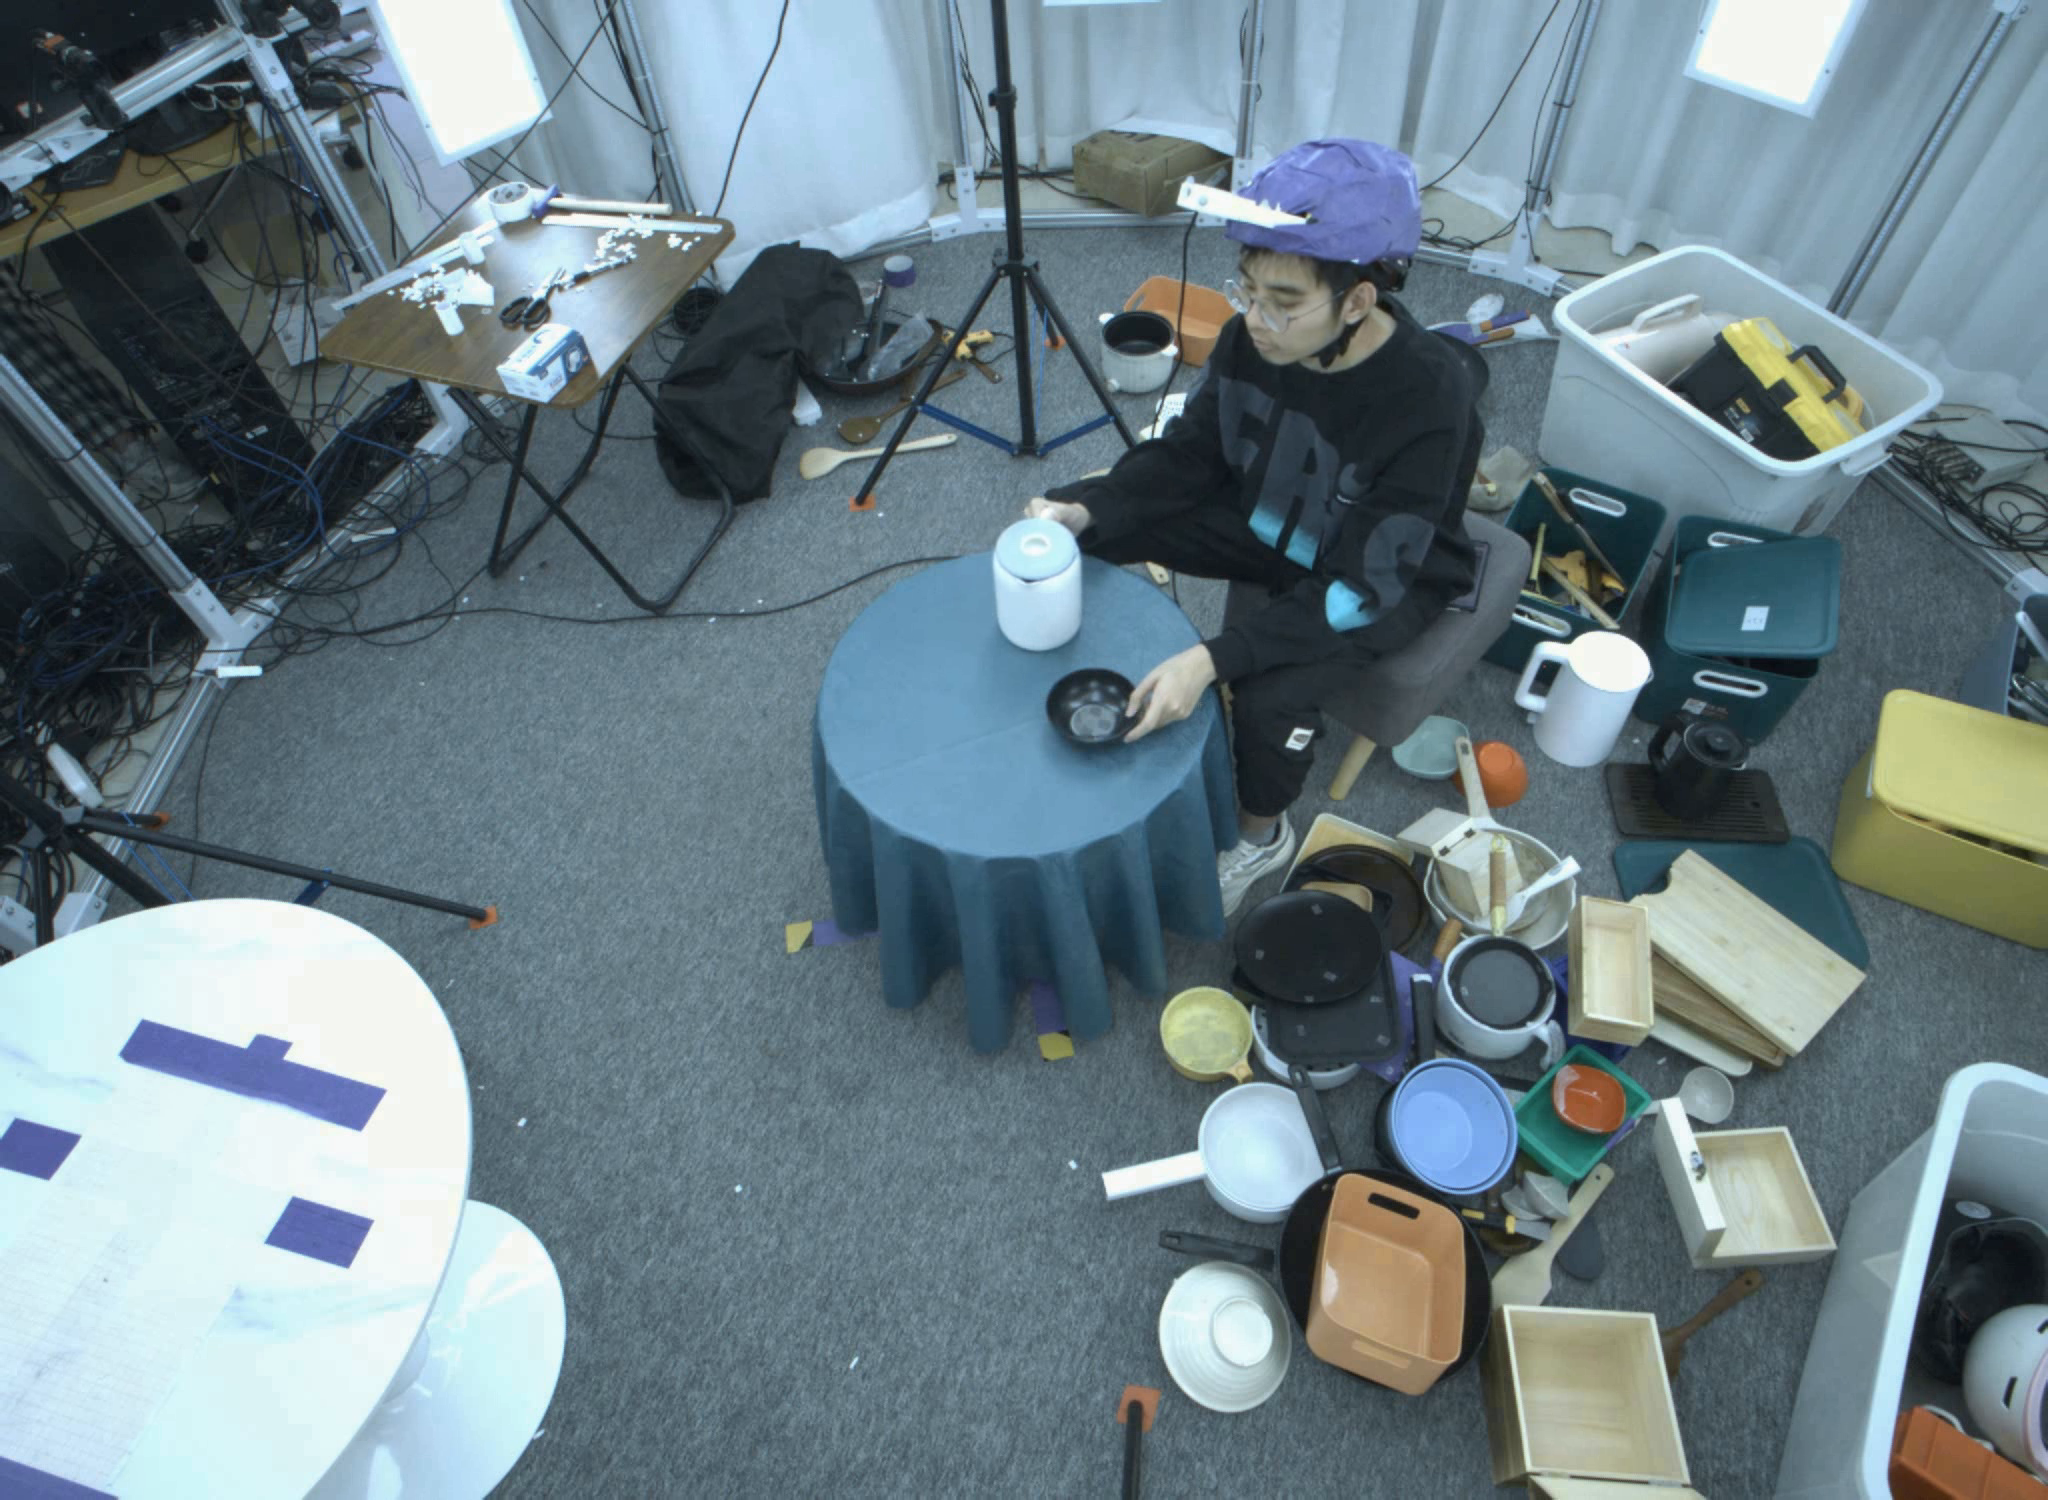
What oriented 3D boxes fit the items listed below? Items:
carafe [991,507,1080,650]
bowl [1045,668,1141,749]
[{"bbox_3d":[0.023,-0.270,1.864,0.132,0.184,0.190,7,56,6],"label":"carafe"},{"bbox_3d":[0.100,-0.052,1.787,0.140,0.050,0.138,0,53,1],"label":"bowl"}]
